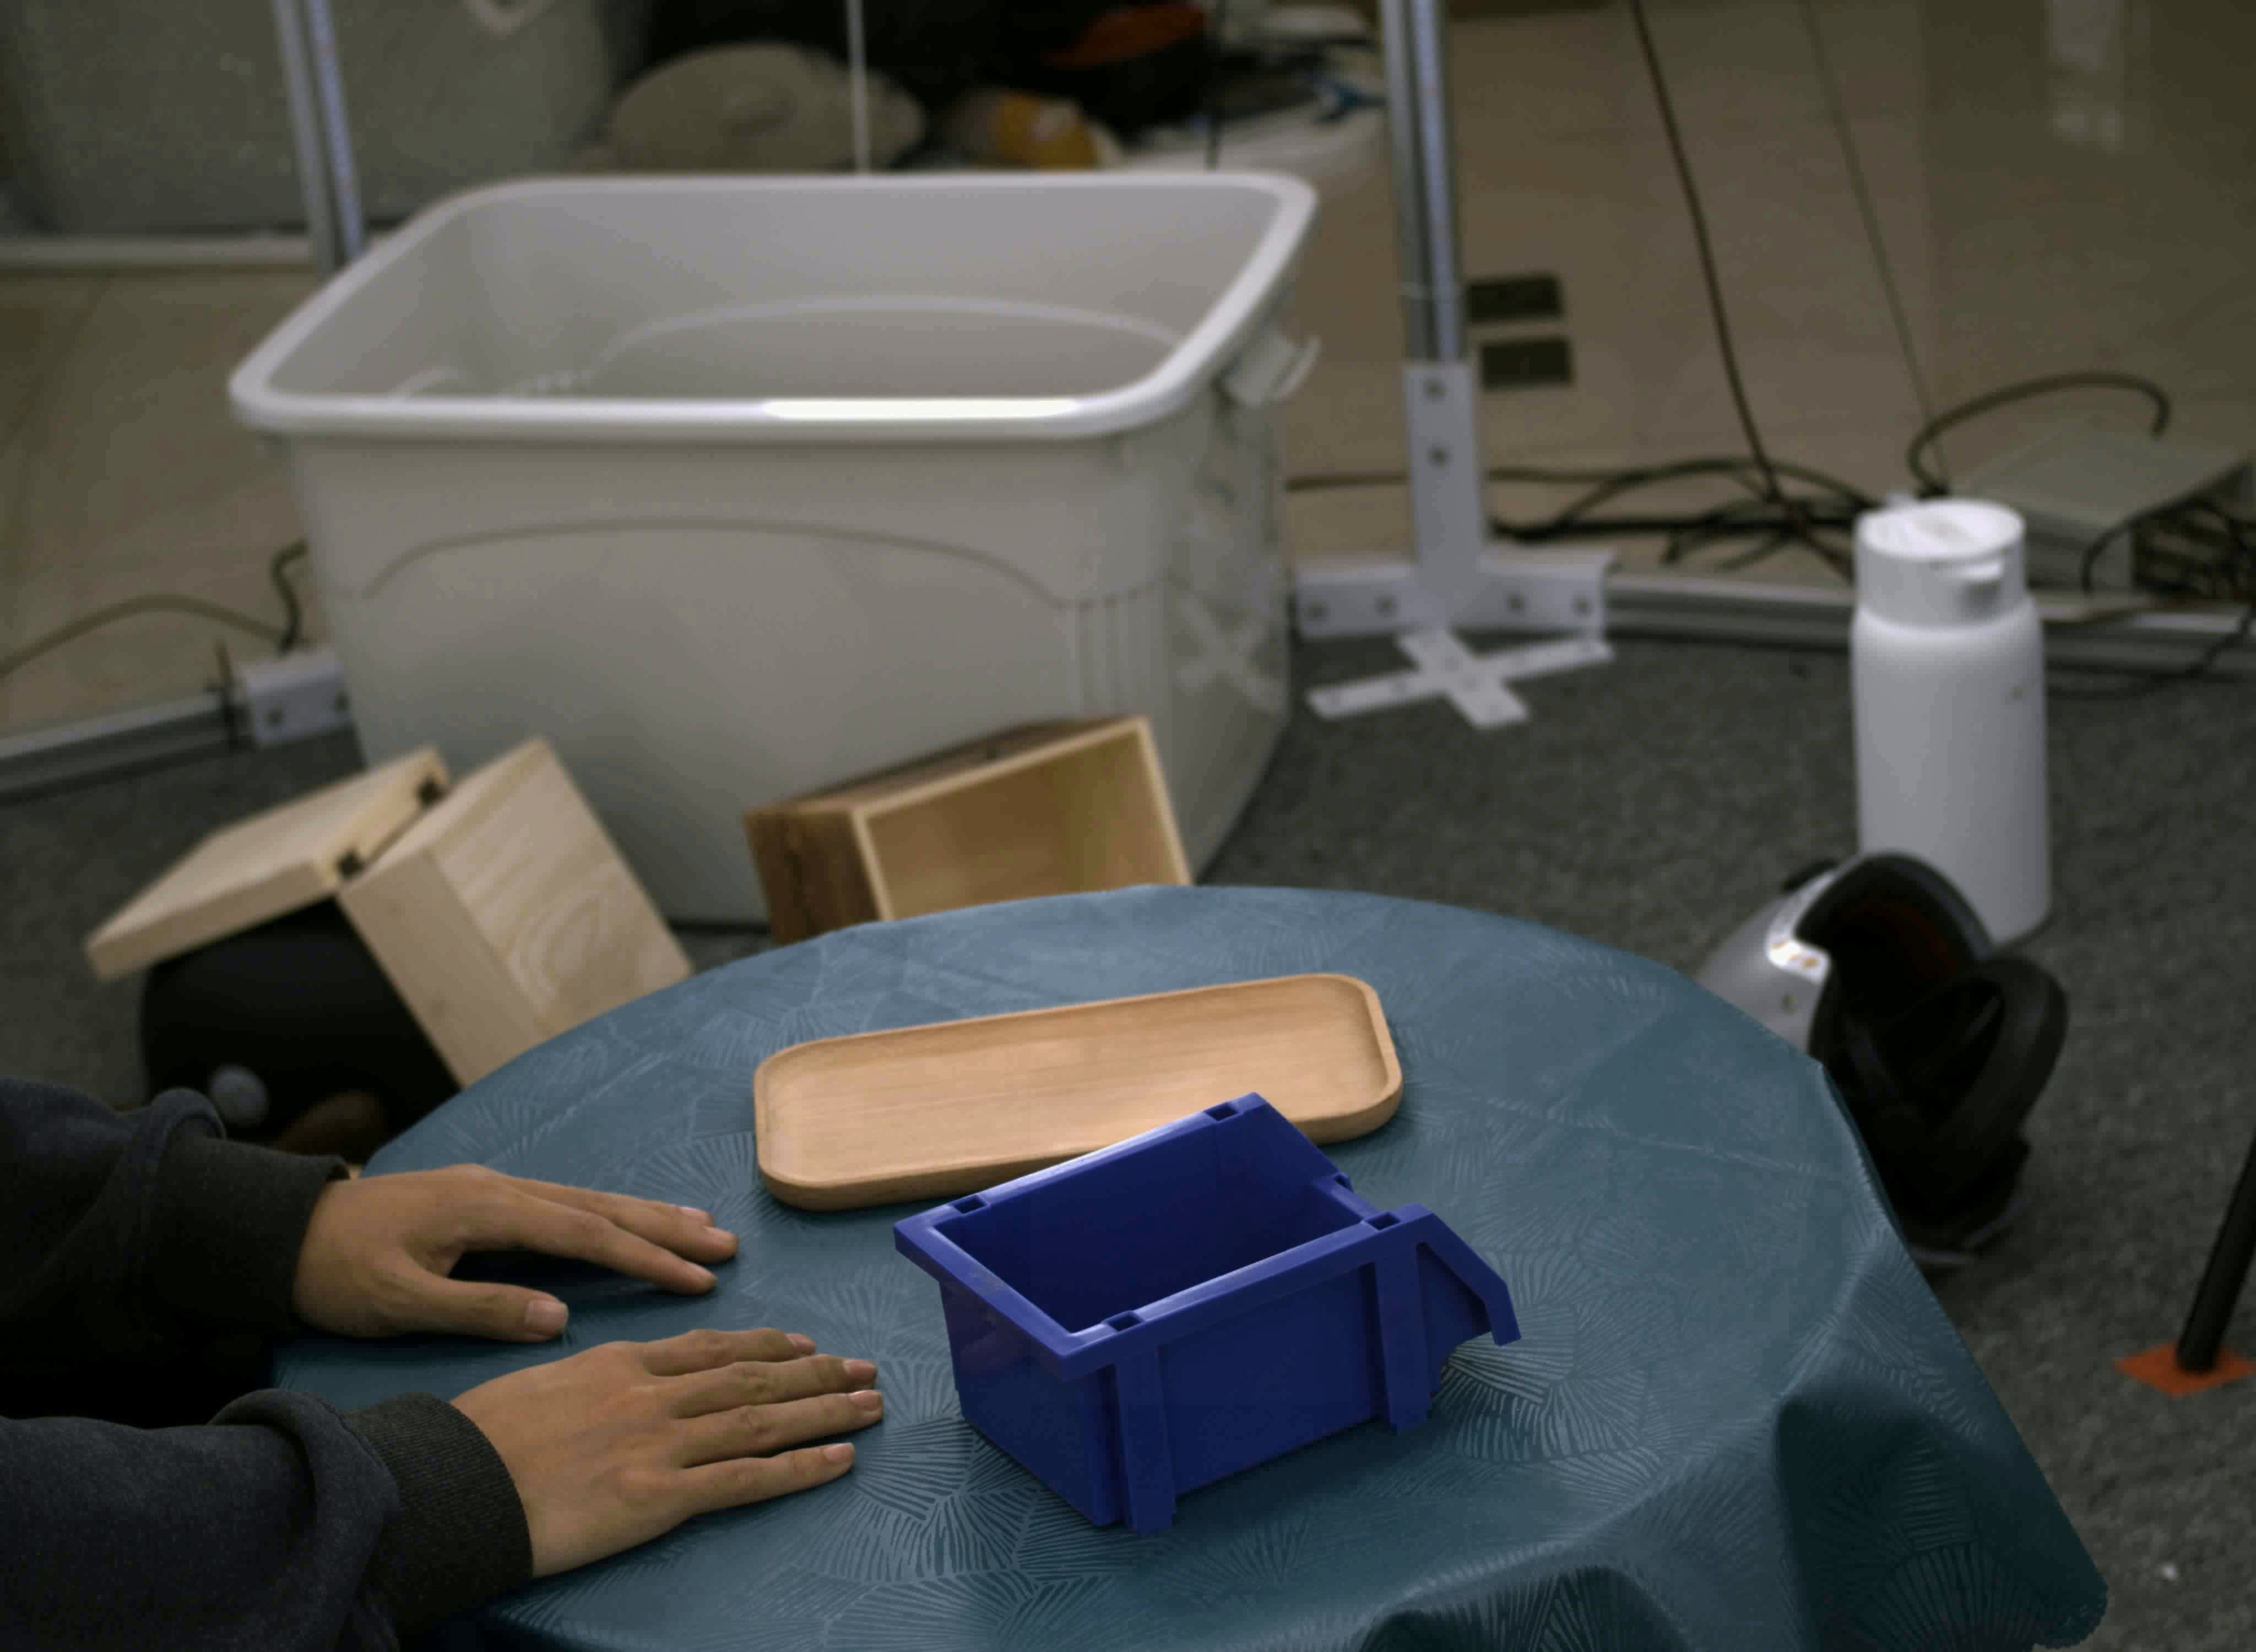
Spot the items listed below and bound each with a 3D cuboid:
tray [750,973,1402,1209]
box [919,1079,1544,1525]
[{"bbox_3d":[-0.021,0.103,2.208,0.250,0.023,0.129,-8,22,-2],"label":"tray"},{"bbox_3d":[0.036,0.162,1.989,0.178,0.083,0.123,-21,28,-21],"label":"box"}]
